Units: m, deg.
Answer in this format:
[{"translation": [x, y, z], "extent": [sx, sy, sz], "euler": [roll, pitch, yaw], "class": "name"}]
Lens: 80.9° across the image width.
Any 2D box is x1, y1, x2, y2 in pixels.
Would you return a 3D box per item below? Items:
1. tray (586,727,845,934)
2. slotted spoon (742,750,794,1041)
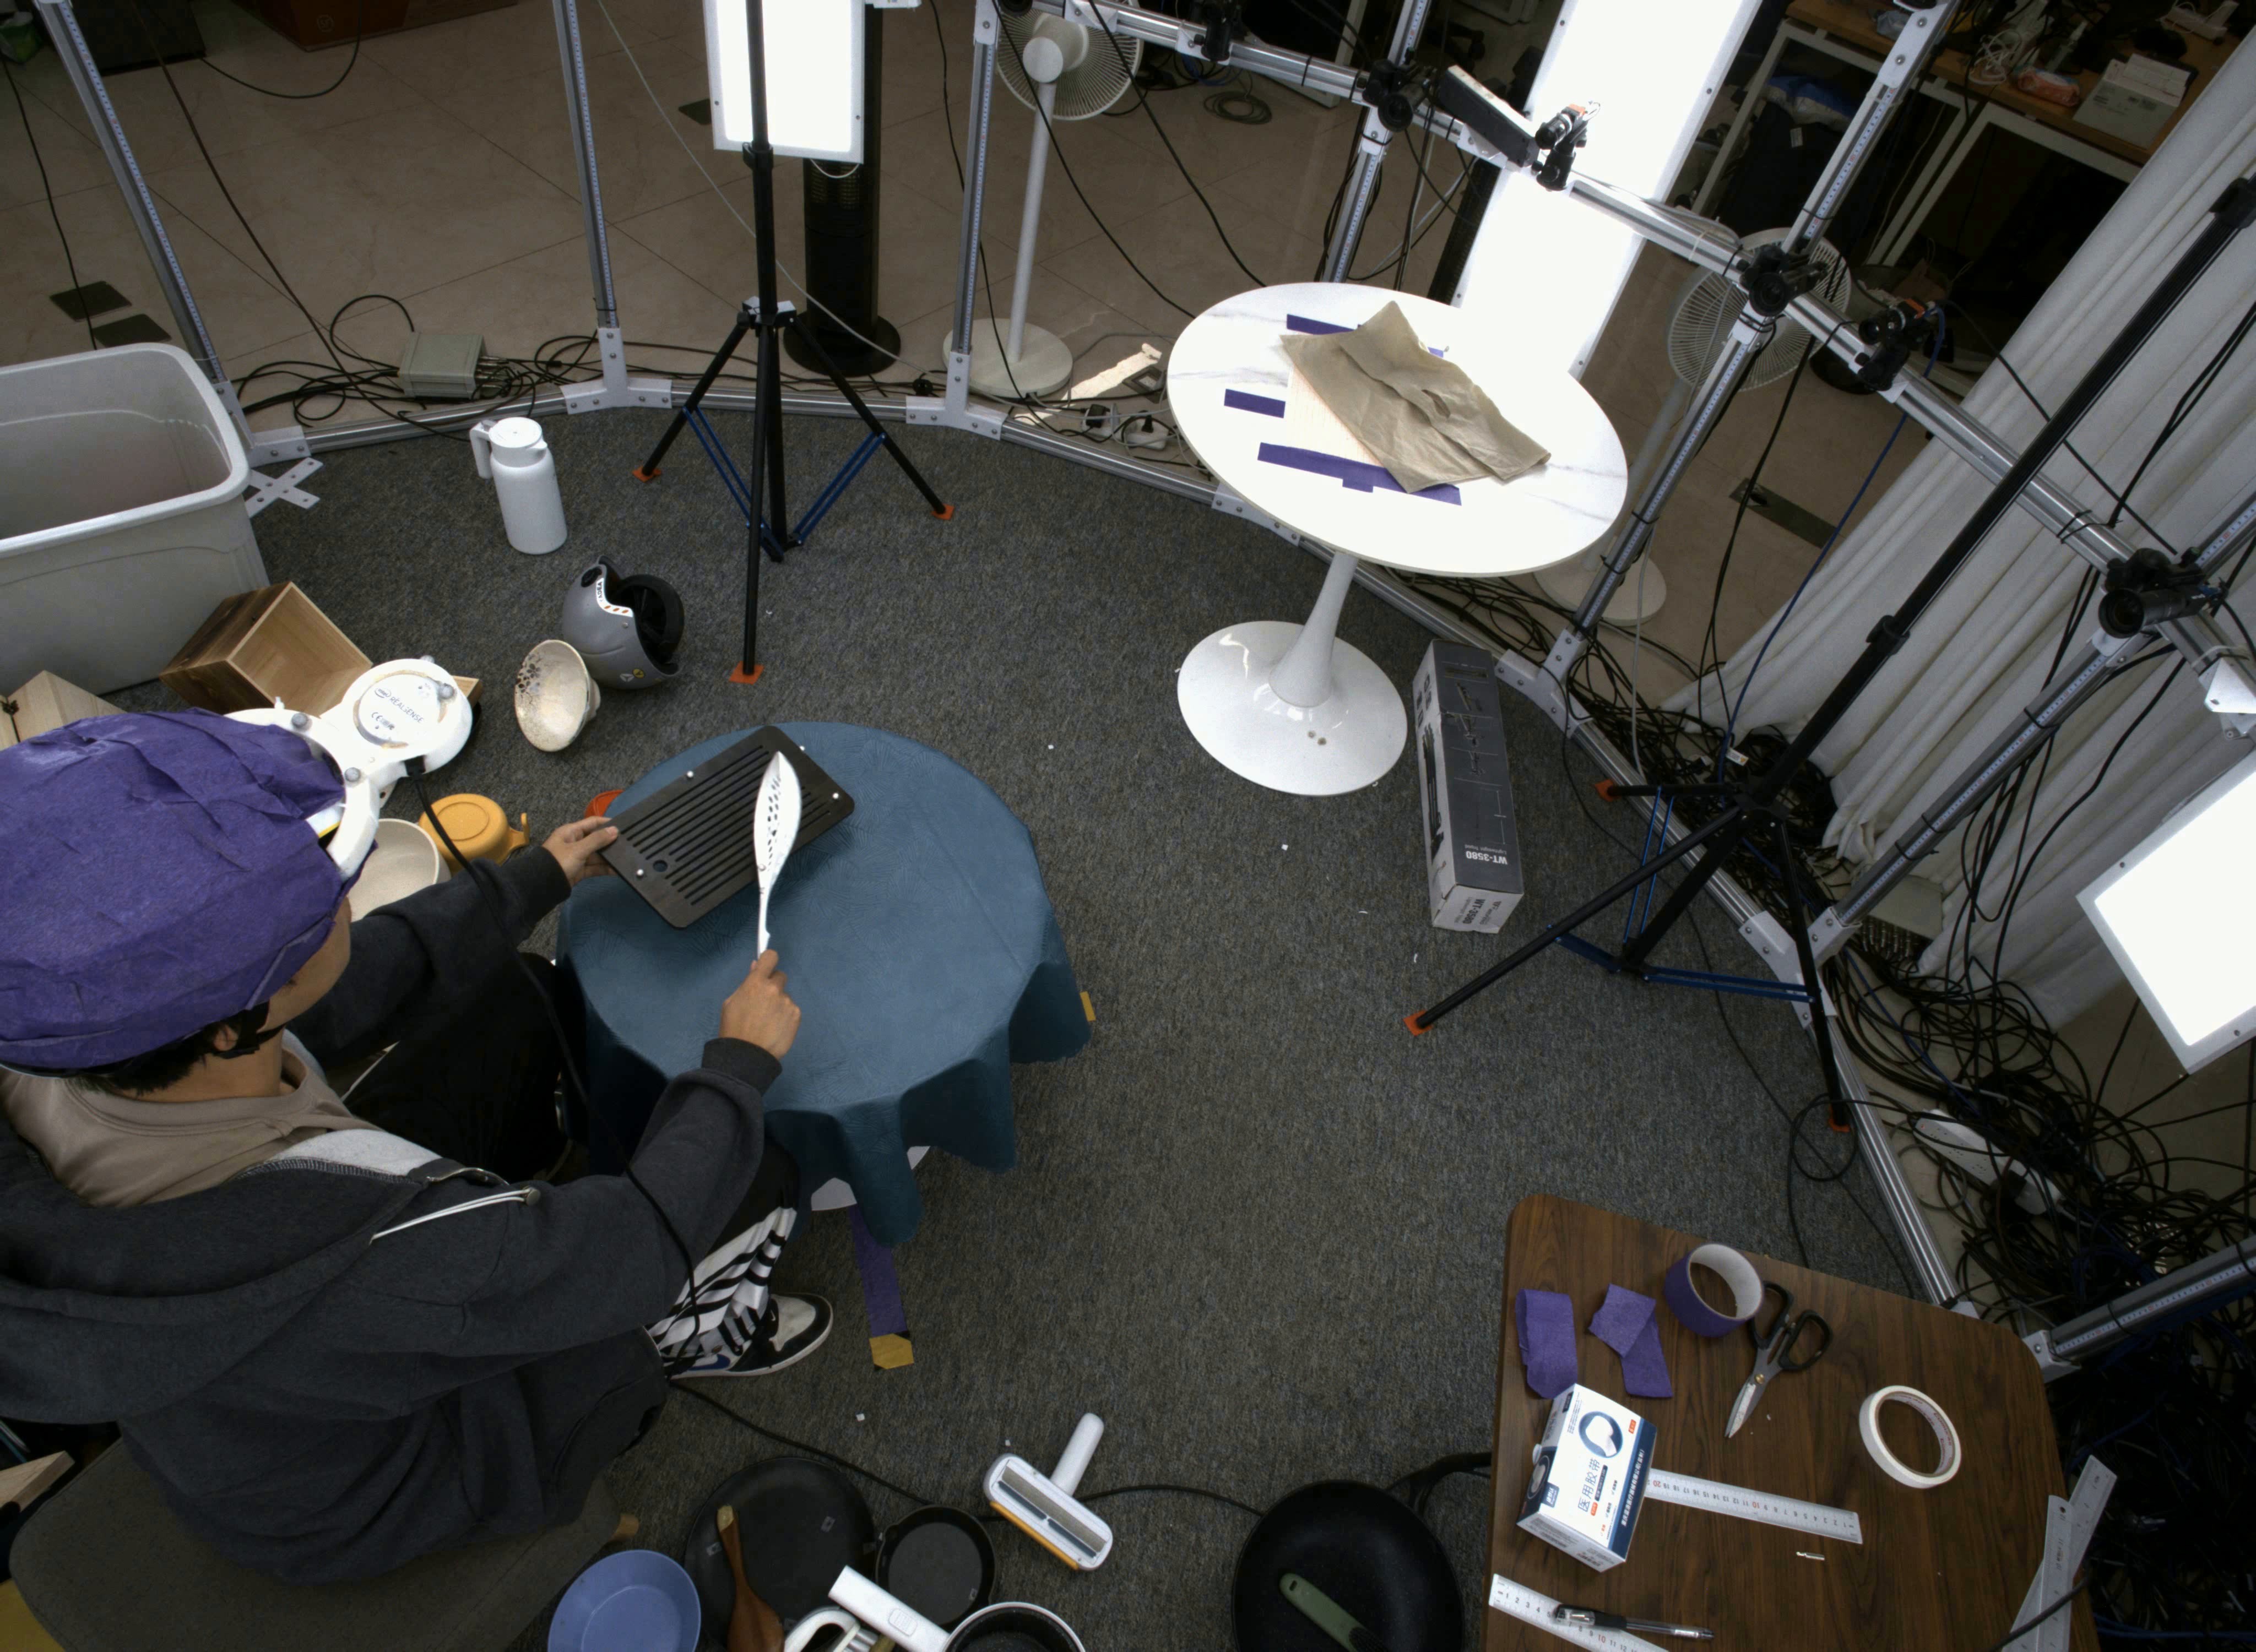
[{"translation": [-0.517, -0.002, 1.624], "extent": [0.169, 0.019, 0.306], "euler": [43, 49, 6], "class": "tray"}, {"translation": [-0.418, 0.078, 1.498], "extent": [0.051, 0.136, 0.343], "euler": [12, 60, -27], "class": "slotted spoon"}]
